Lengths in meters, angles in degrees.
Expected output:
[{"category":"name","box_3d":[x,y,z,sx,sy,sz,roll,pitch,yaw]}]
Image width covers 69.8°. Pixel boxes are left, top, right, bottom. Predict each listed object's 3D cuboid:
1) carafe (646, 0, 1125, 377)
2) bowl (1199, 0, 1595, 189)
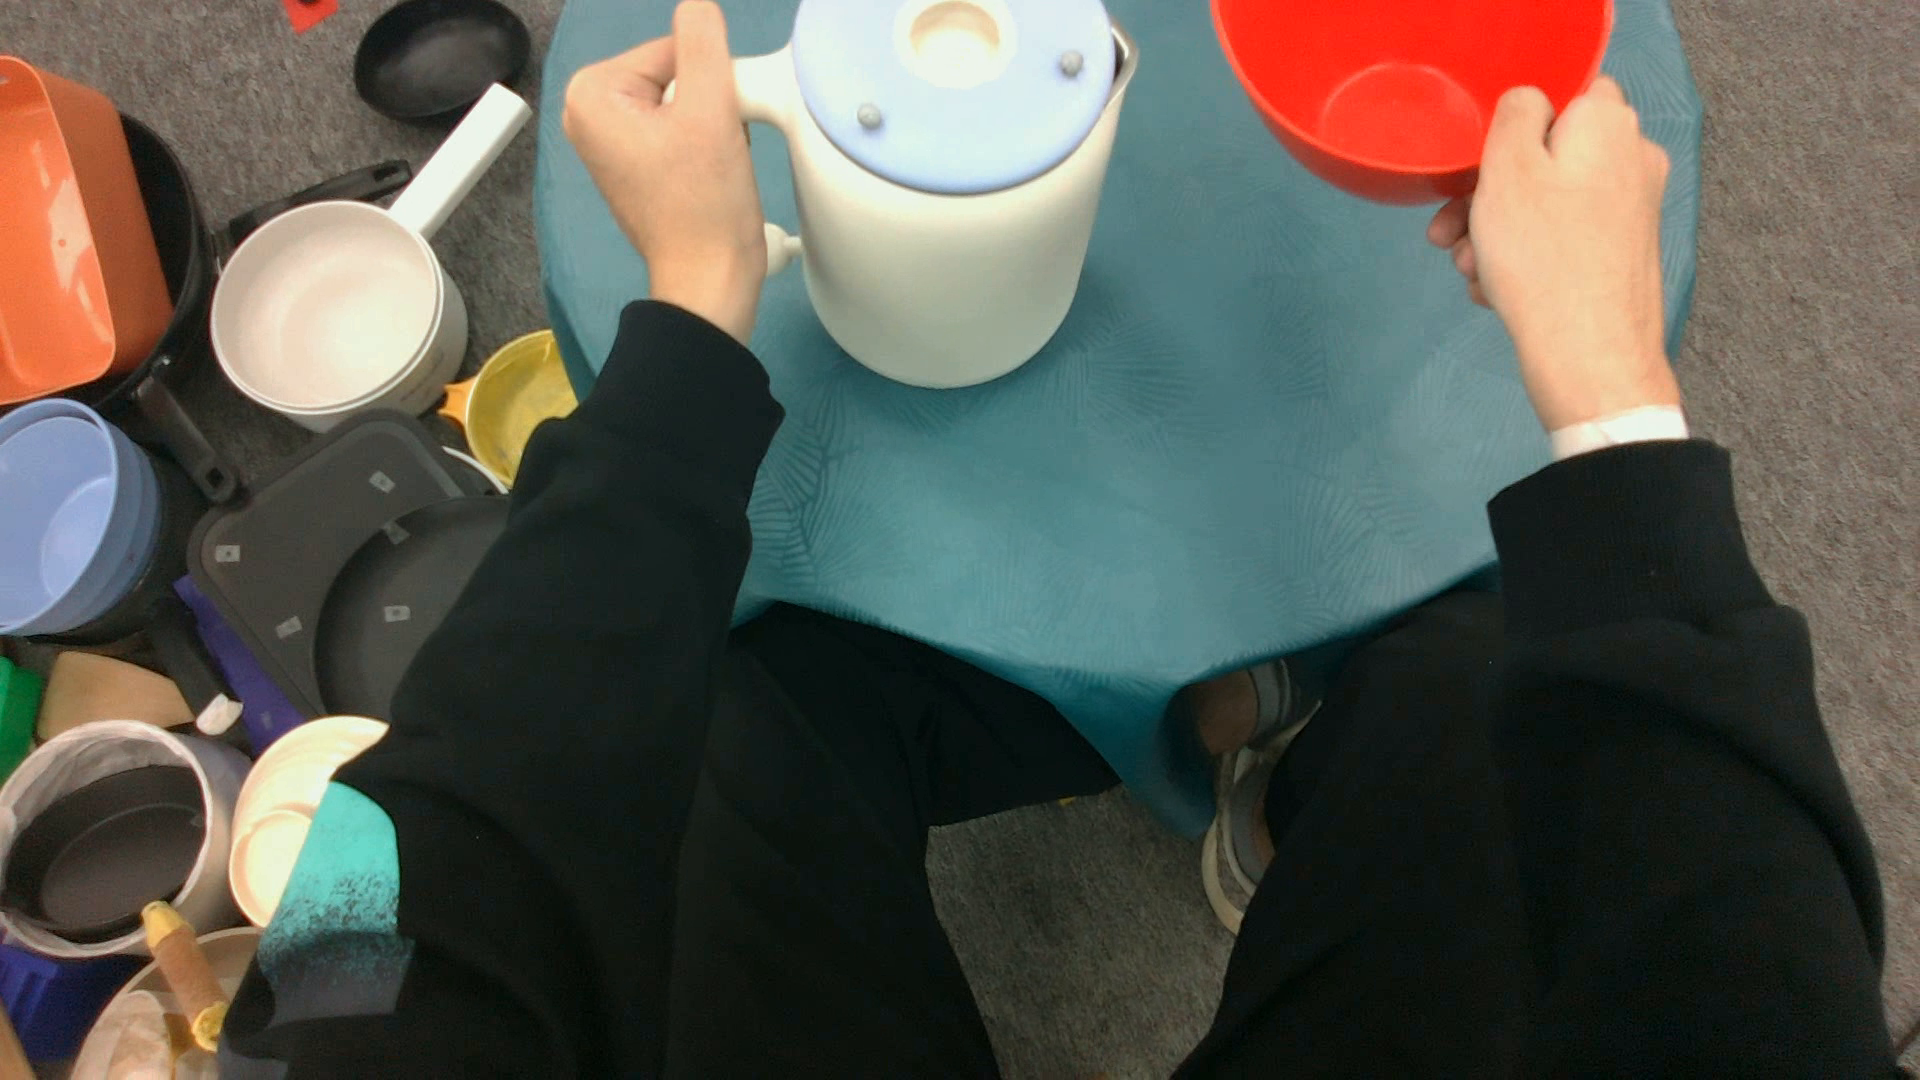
[{"category":"carafe","box_3d":[-0.035,-0.159,0.582,0.191,0.182,0.132,-4,72,-3]},{"category":"bowl","box_3d":[0.168,-0.203,0.549,0.148,0.104,0.148,-2,74,9]}]
